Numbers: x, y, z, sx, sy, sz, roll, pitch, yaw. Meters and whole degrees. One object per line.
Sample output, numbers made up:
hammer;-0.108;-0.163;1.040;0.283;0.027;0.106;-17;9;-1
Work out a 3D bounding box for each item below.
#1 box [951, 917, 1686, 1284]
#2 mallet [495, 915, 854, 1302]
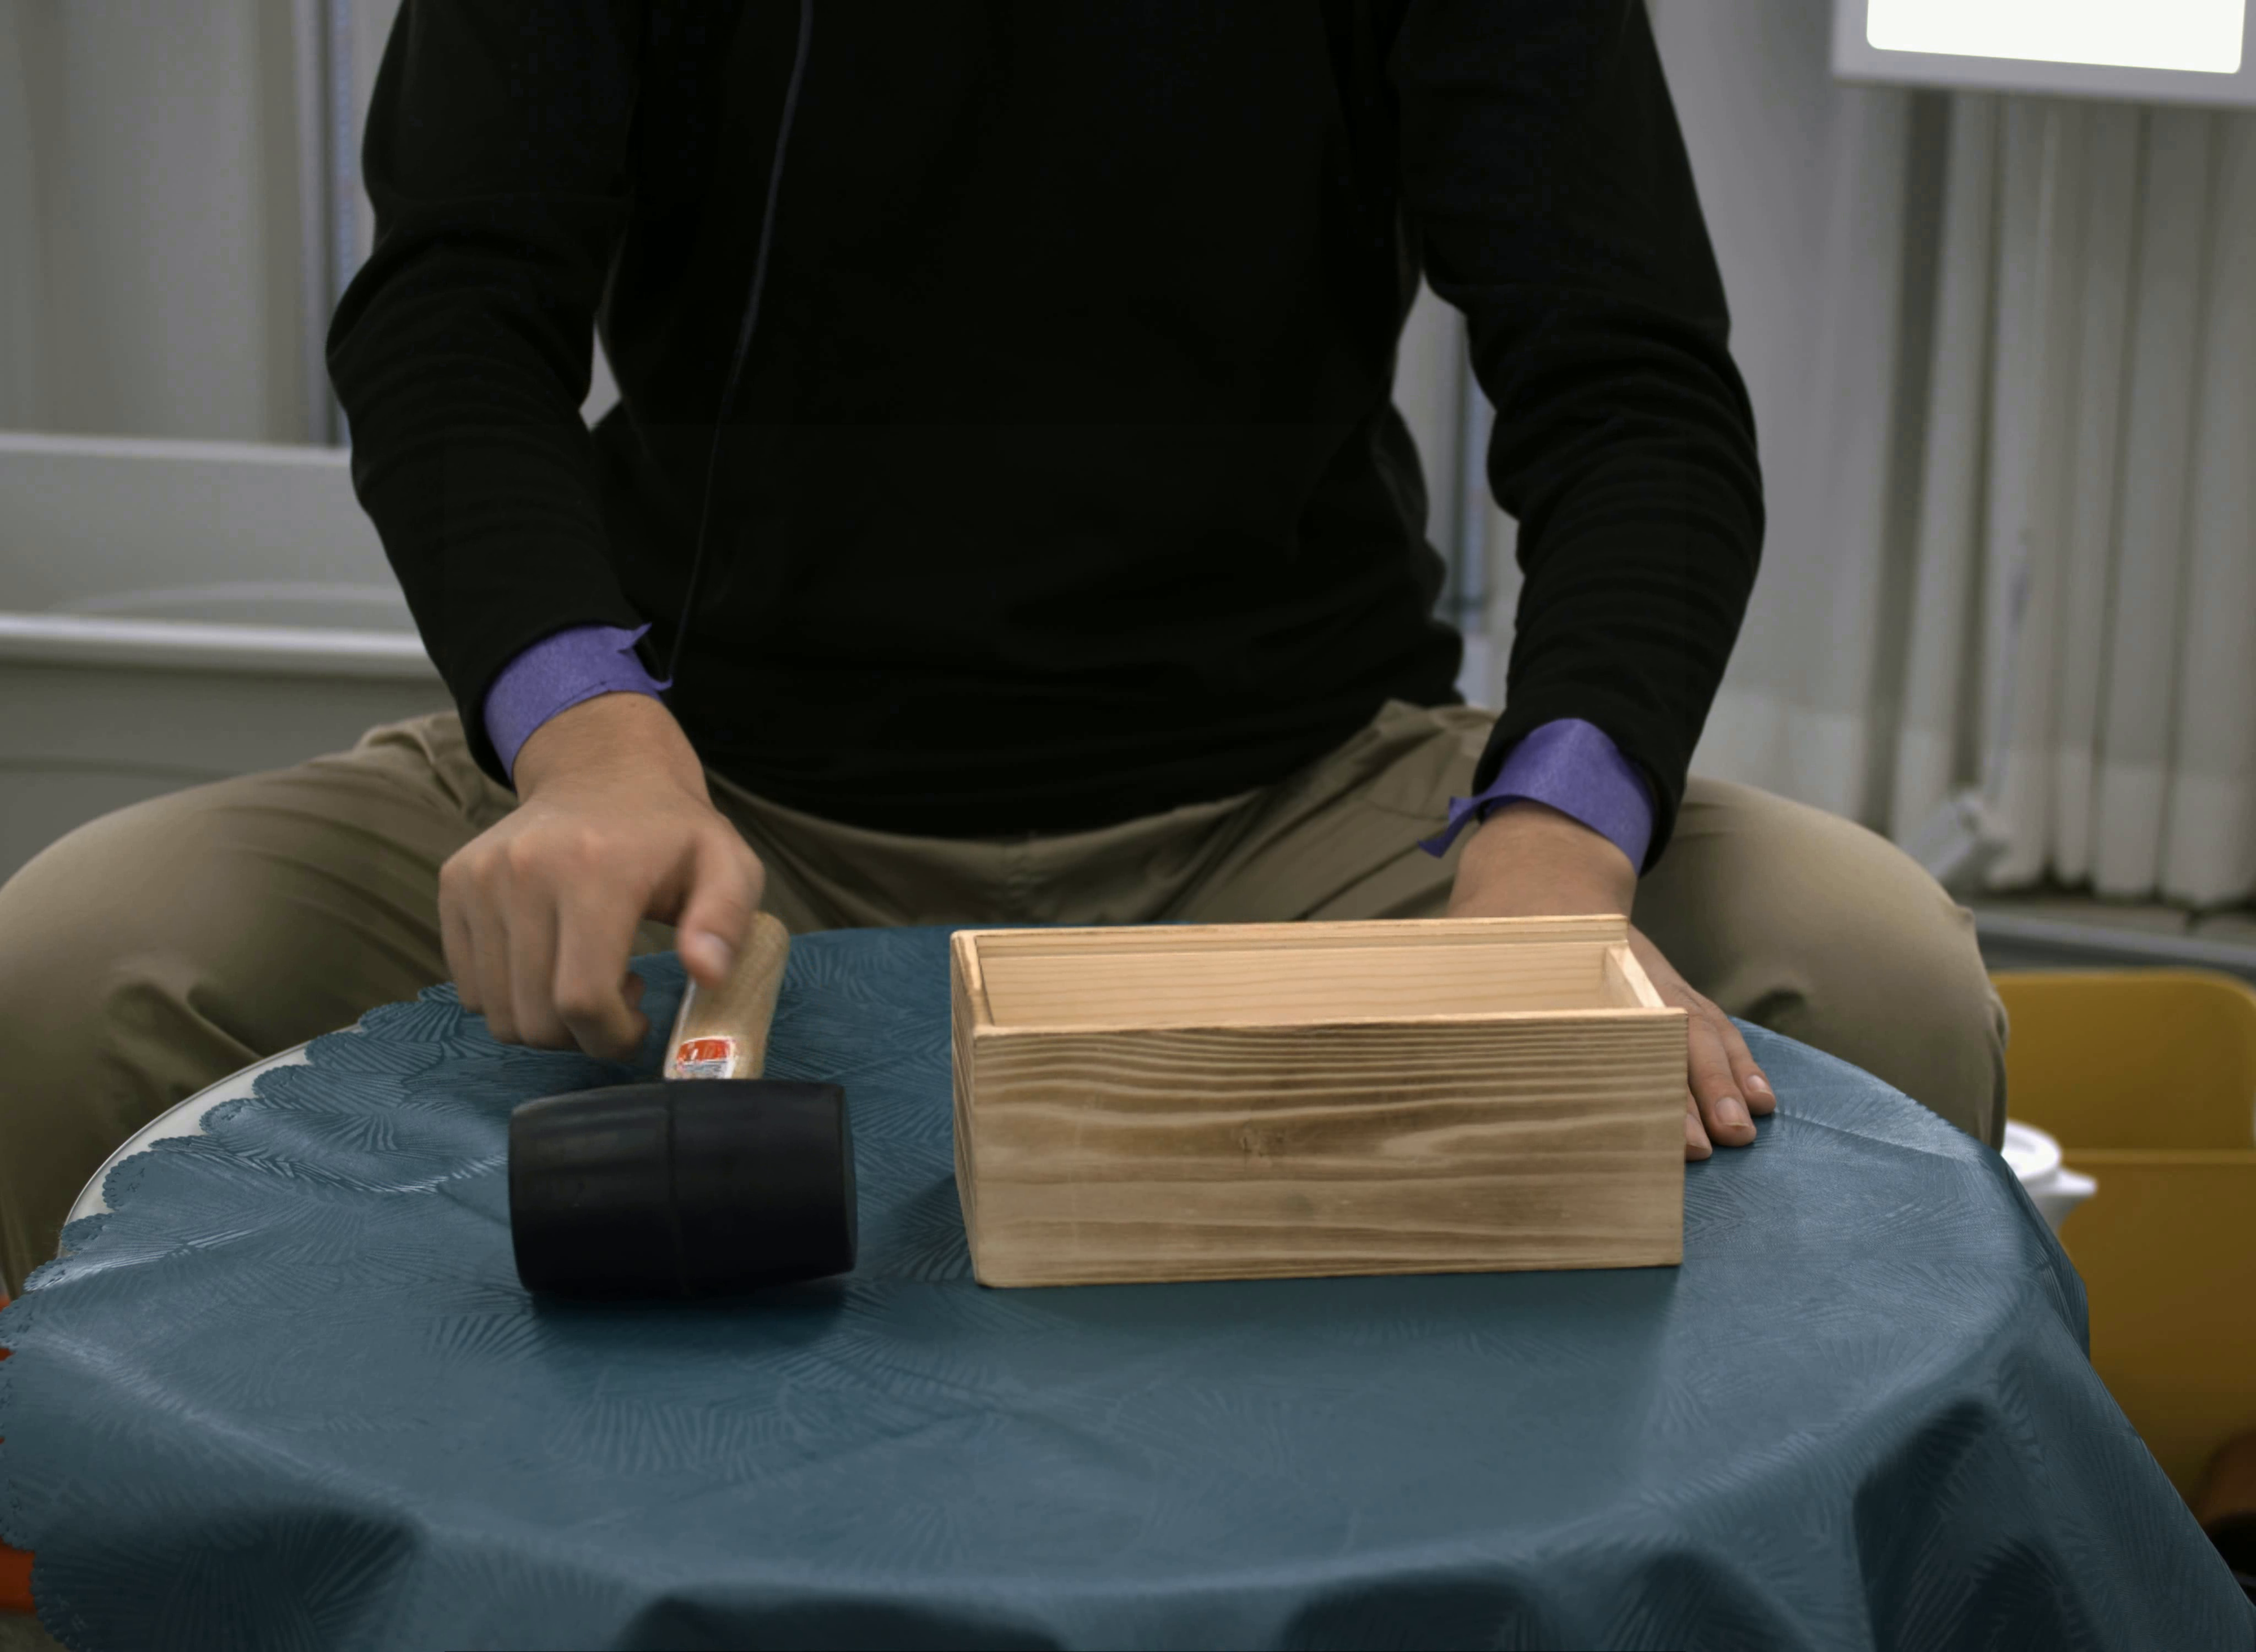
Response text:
box;0.054;0.081;1.588;0.211;0.081;0.107;-1;15;-6
mallet;-0.130;0.070;1.658;0.101;0.065;0.337;0;15;0
